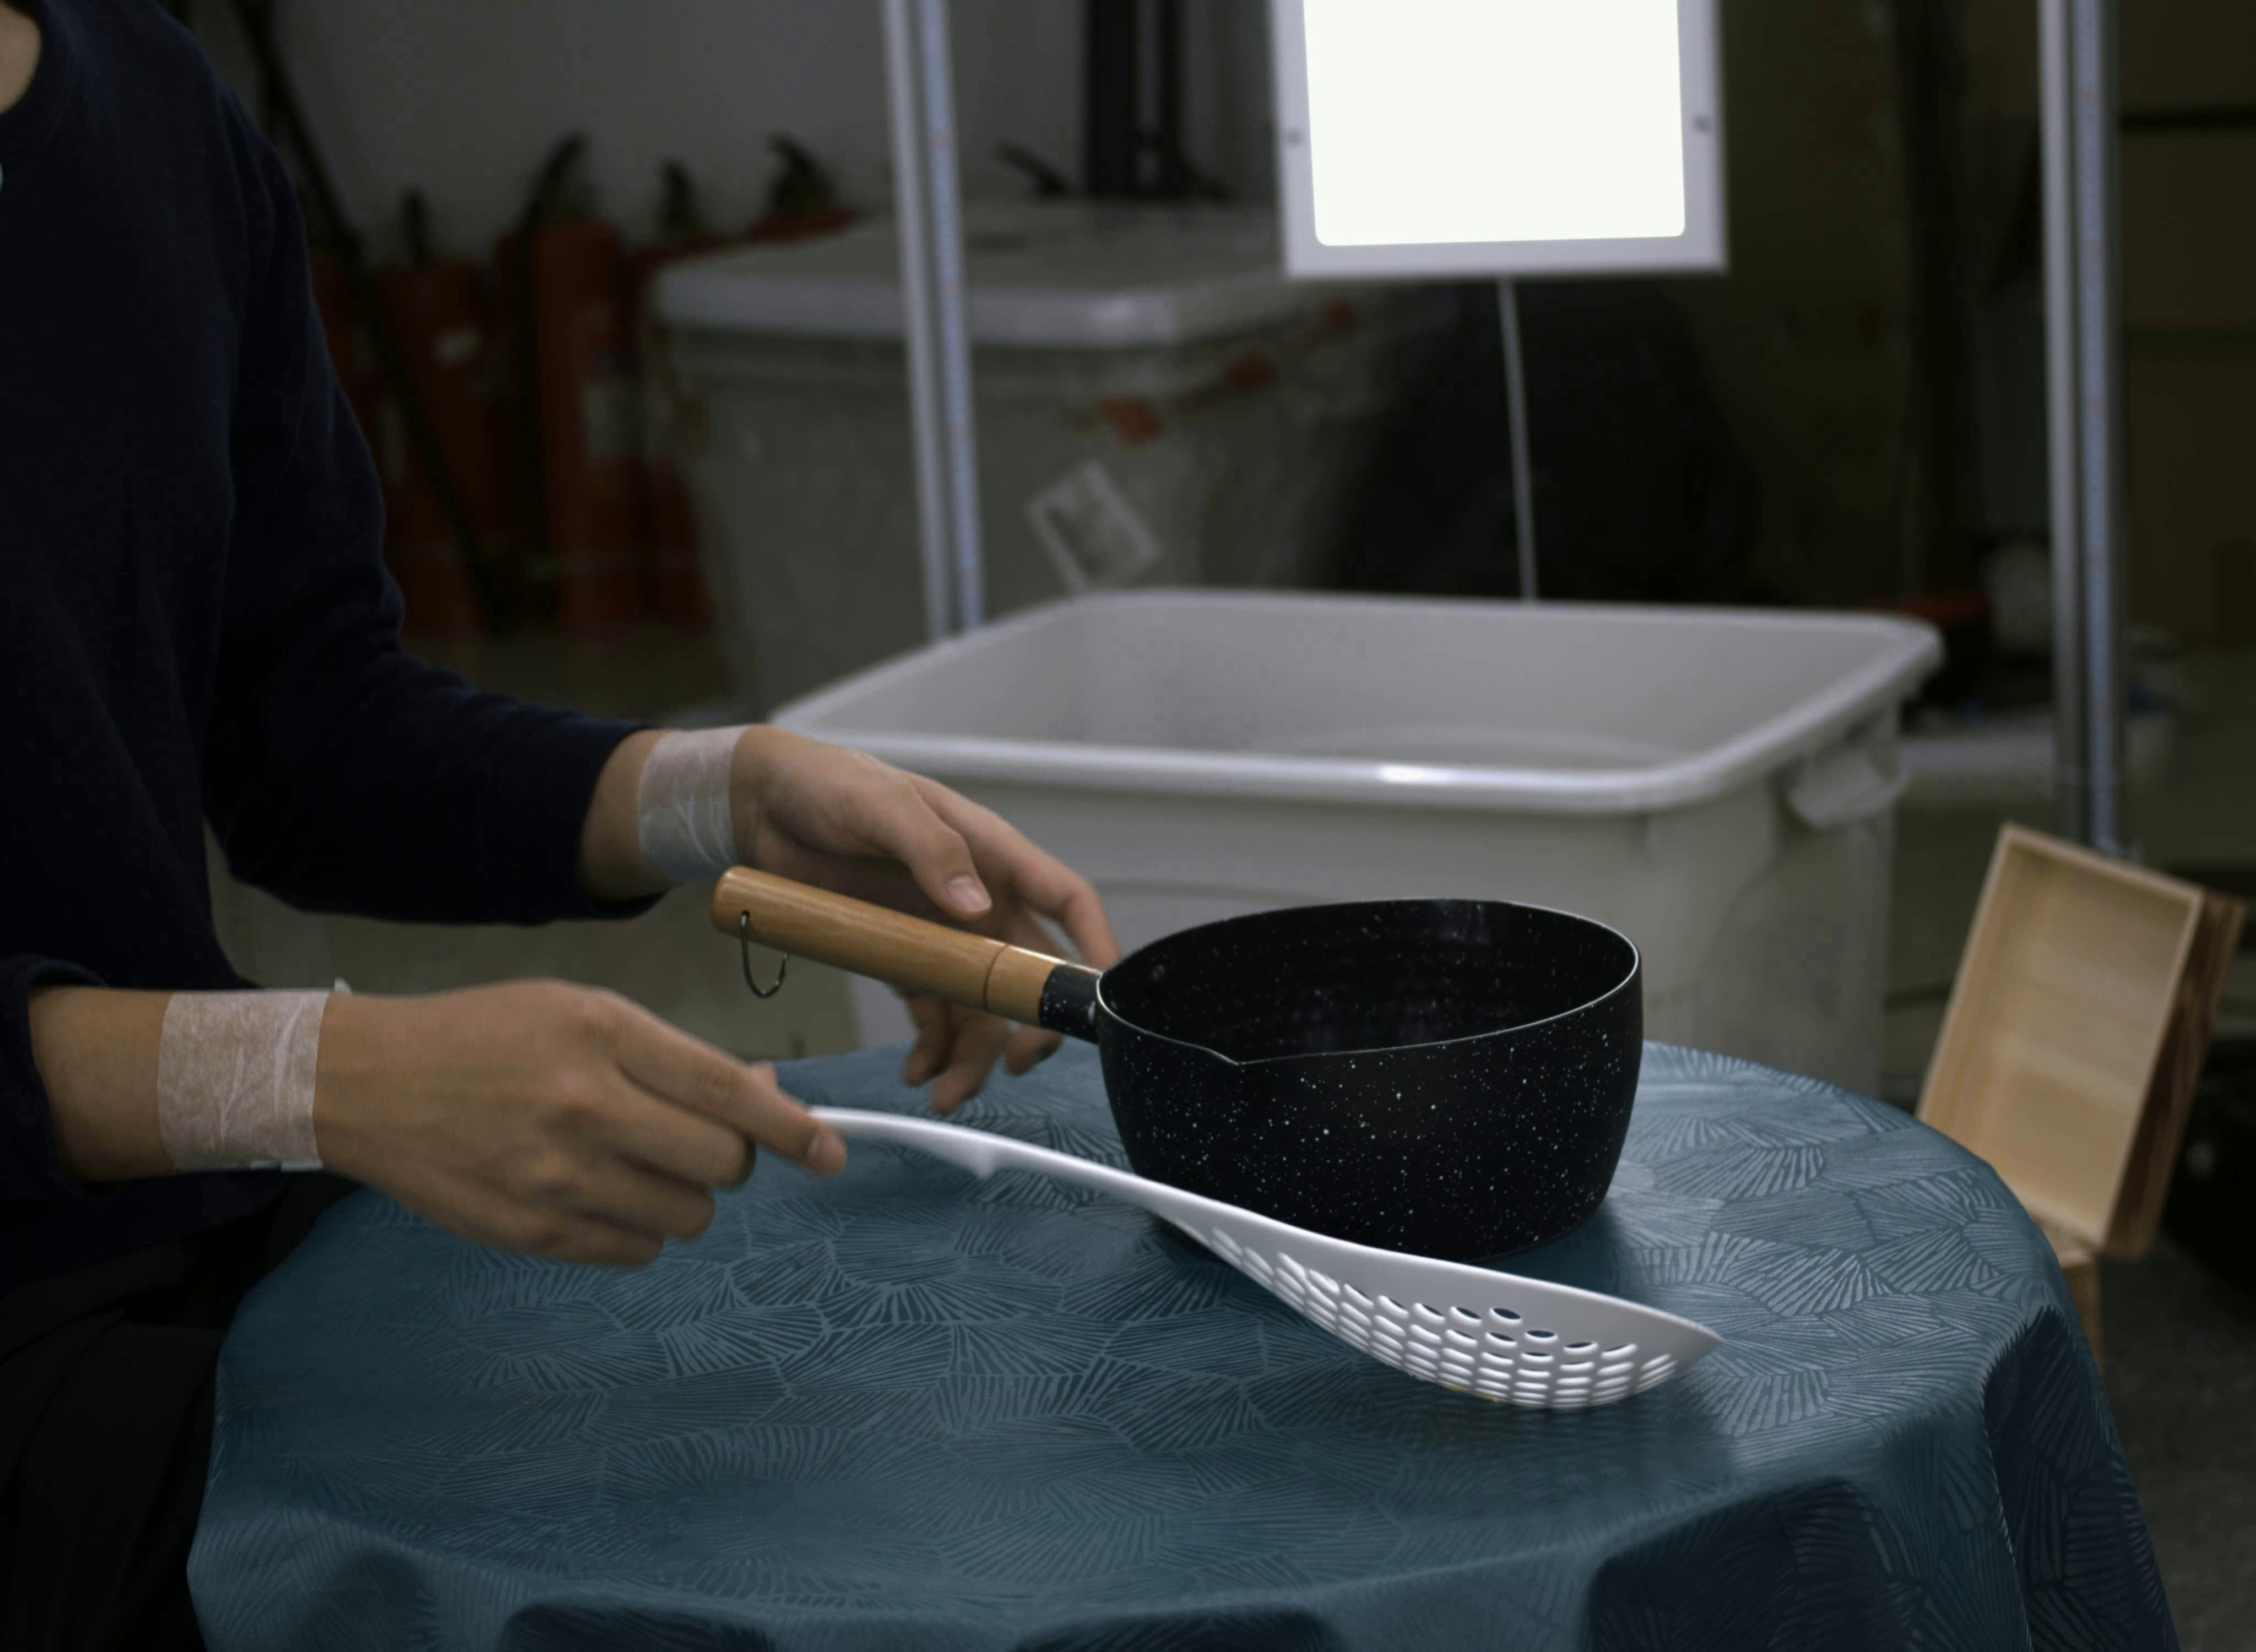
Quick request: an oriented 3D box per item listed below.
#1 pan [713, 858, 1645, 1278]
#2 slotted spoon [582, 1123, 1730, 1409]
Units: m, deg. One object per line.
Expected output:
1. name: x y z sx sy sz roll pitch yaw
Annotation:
1. pan: 0.011 0.074 1.879 0.348 0.108 0.203 3 17 26
2. slotted spoon: 0.008 0.122 1.656 0.348 0.050 0.136 17 -3 6
